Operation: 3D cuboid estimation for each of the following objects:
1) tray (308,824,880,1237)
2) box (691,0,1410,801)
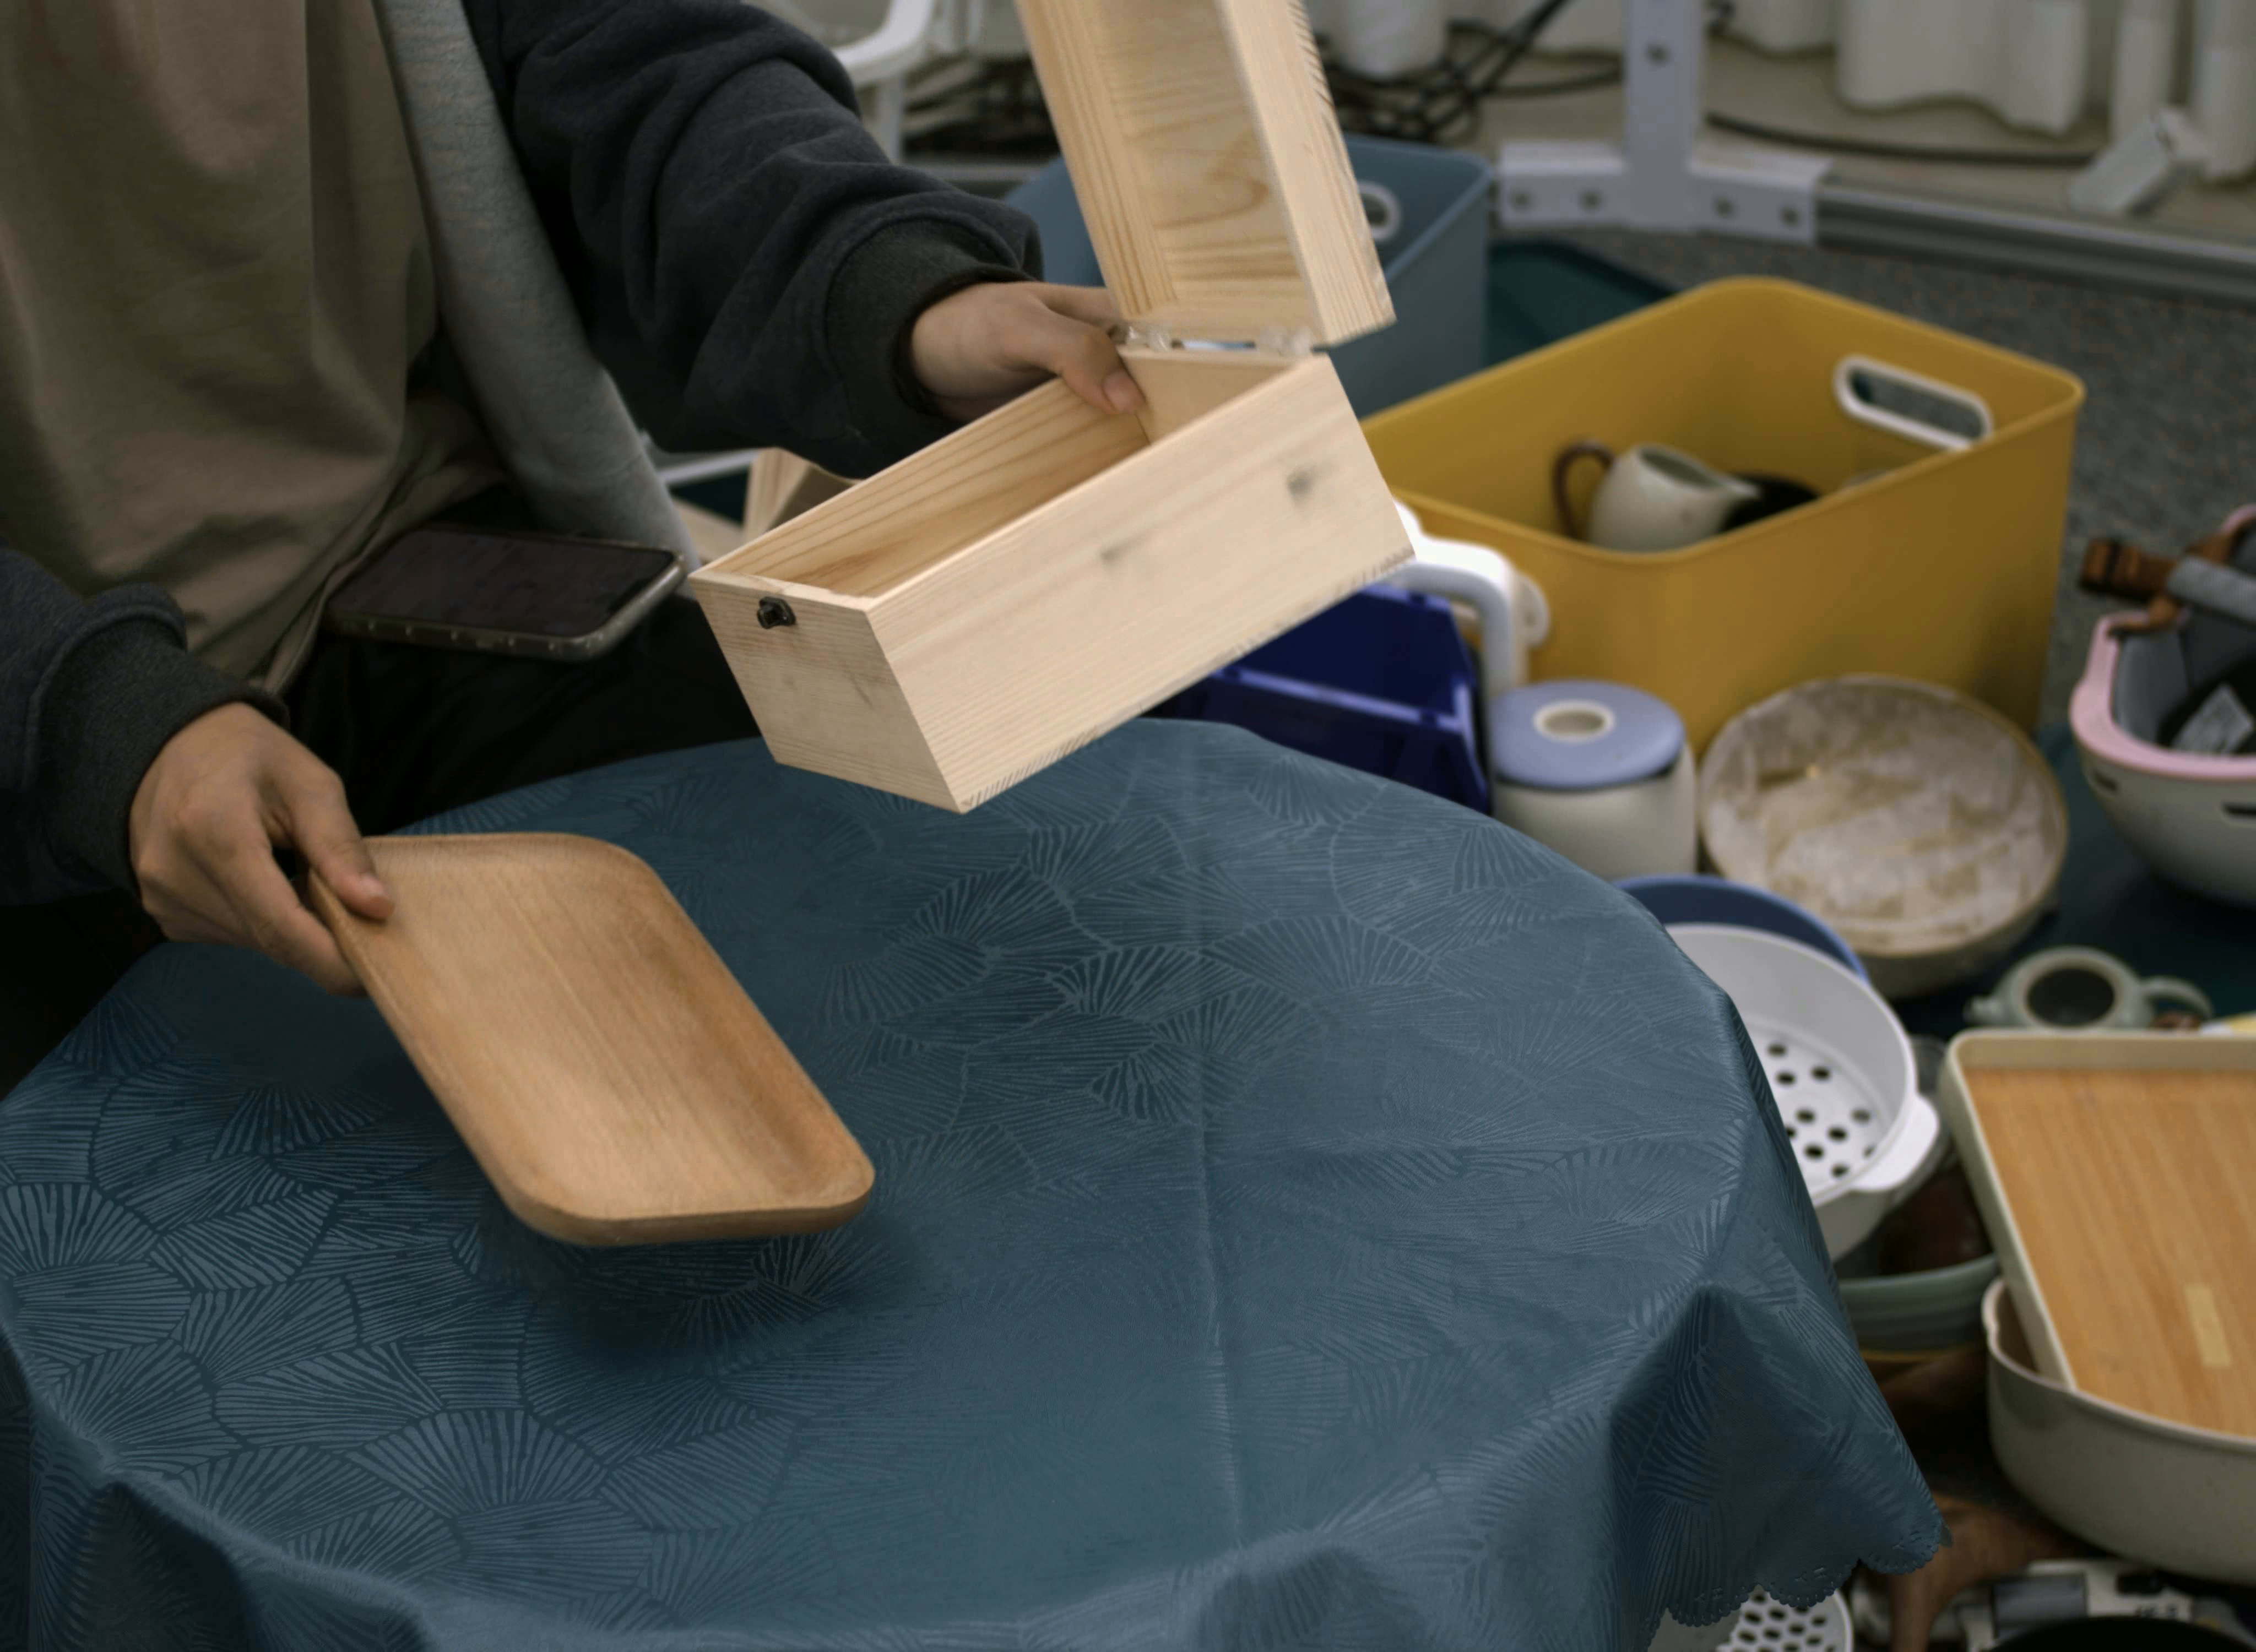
[{"bbox_3d":[-0.181,0.065,1.865,0.131,0.022,0.253,3,26,-29],"label":"tray"},{"bbox_3d":[-0.037,-0.181,1.888,0.267,0.252,0.181,-30,12,-19],"label":"box"}]
